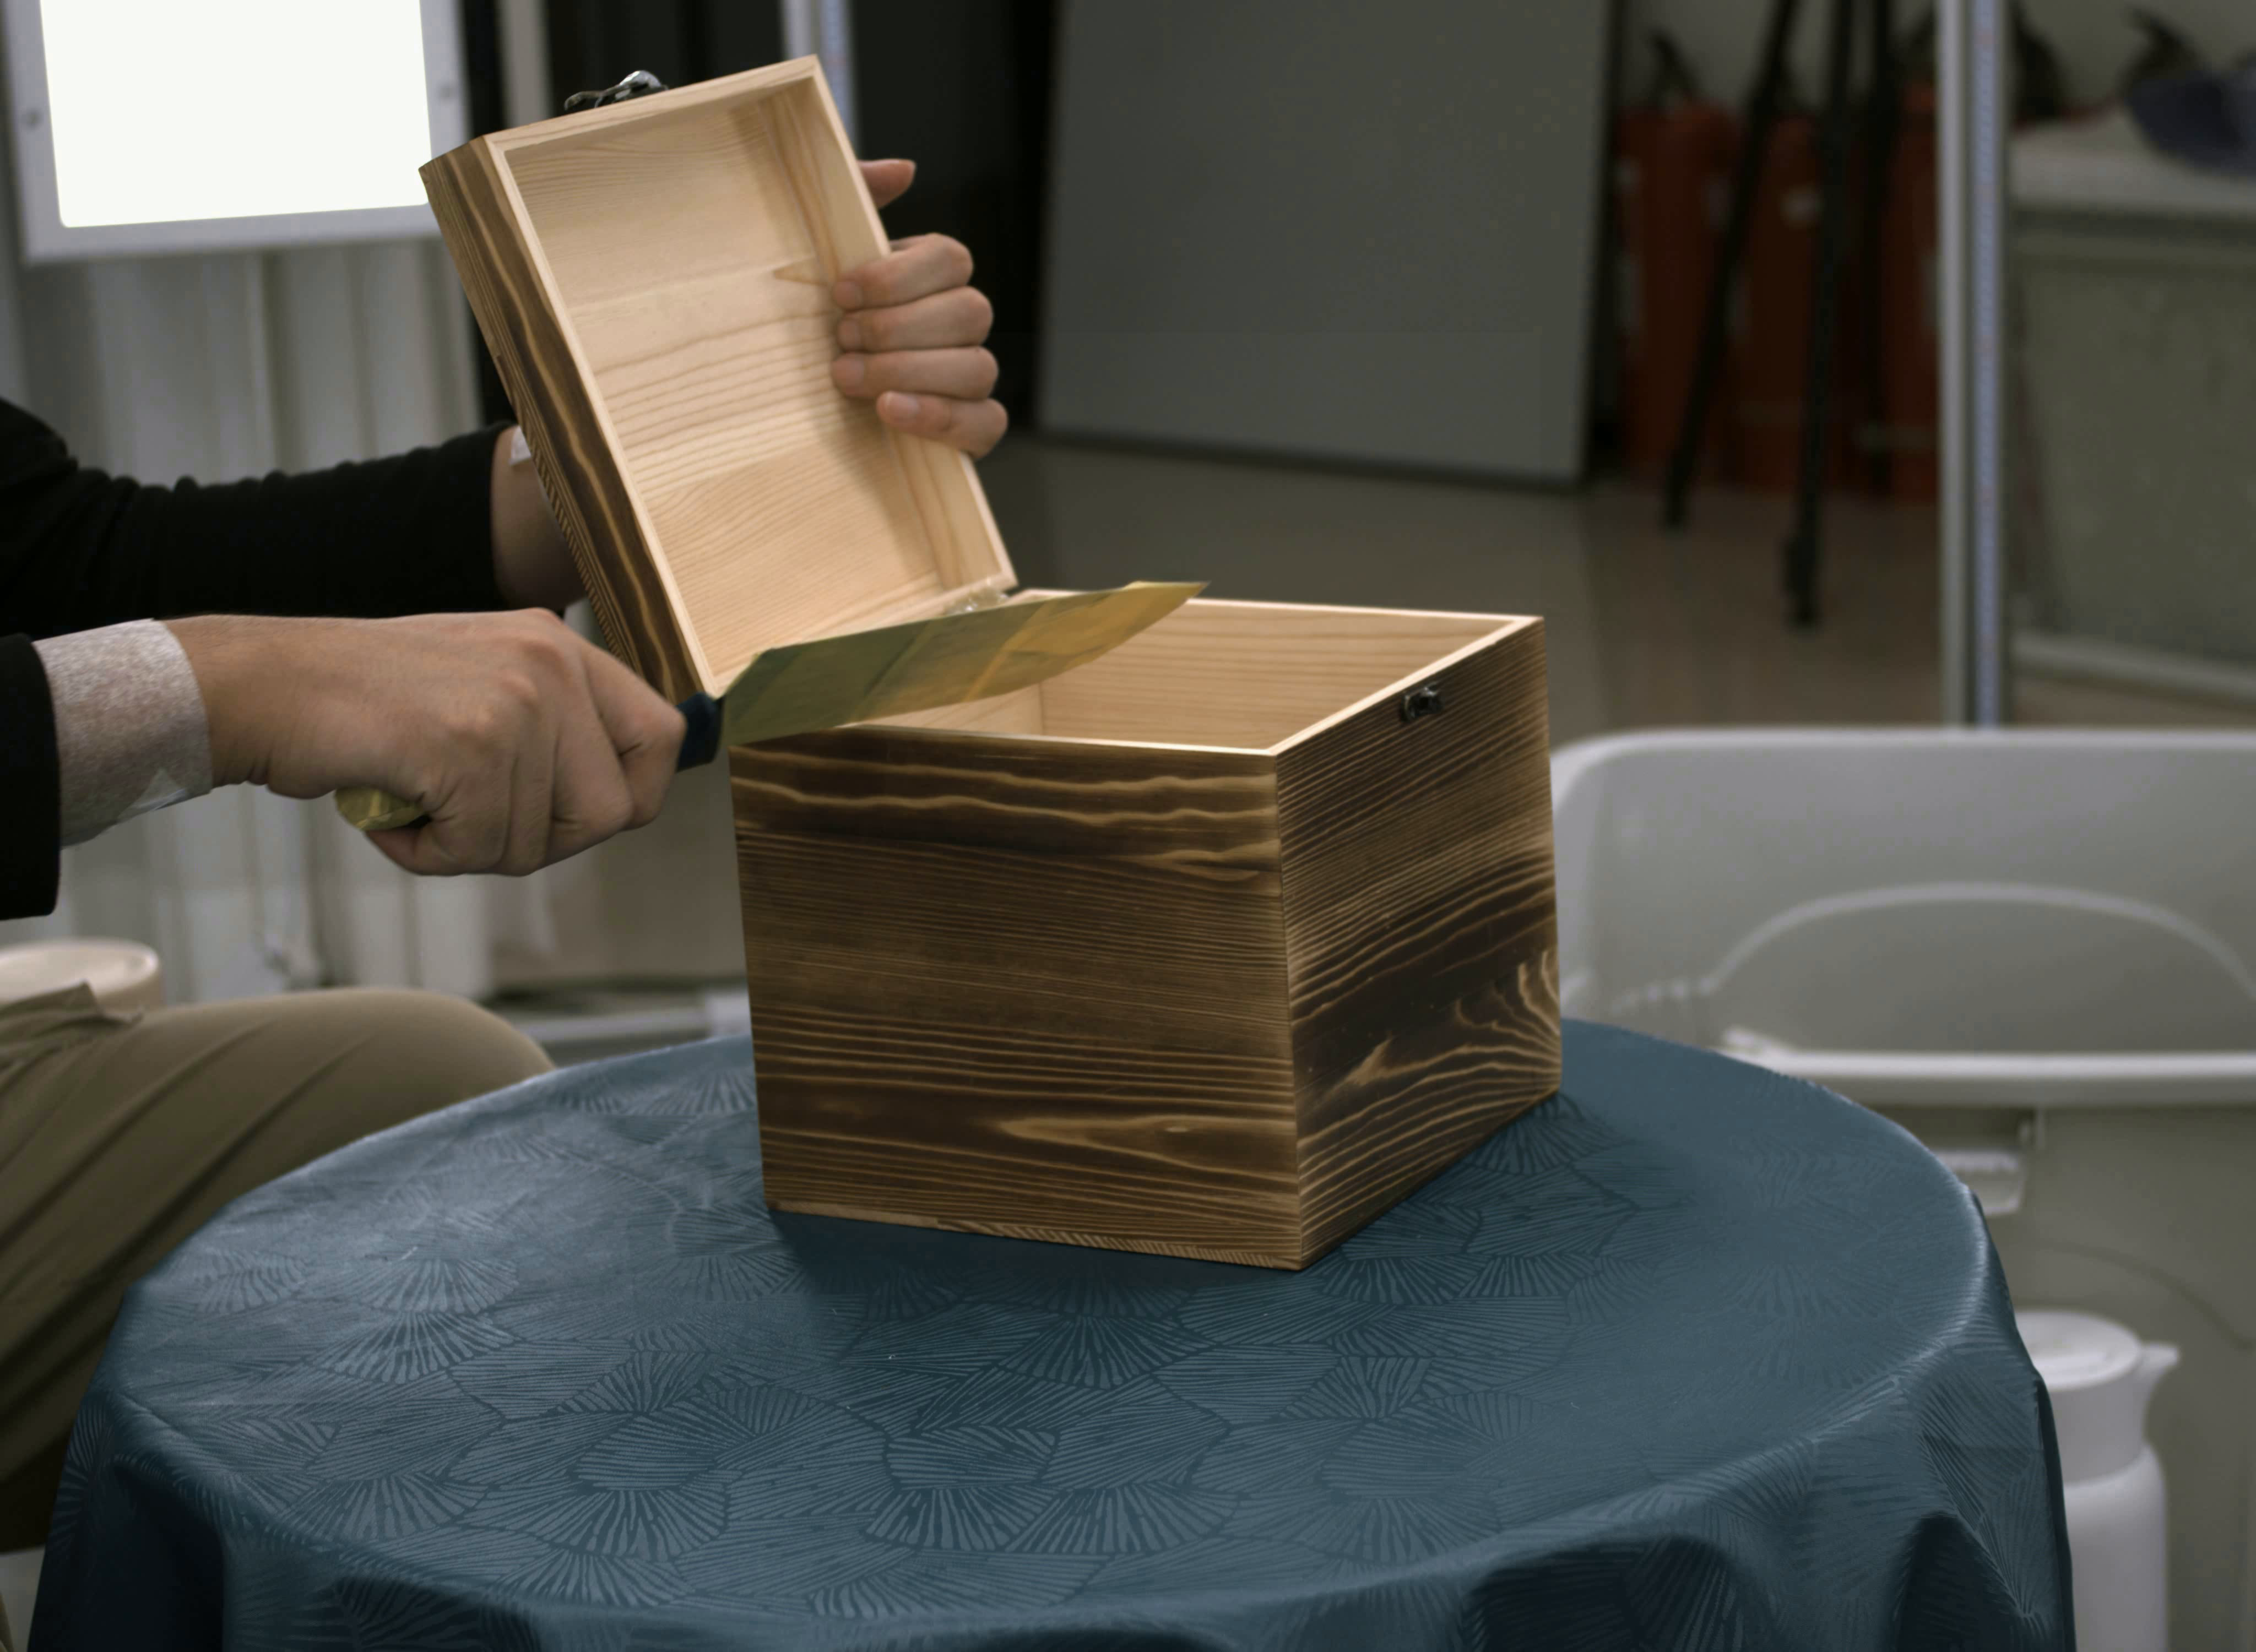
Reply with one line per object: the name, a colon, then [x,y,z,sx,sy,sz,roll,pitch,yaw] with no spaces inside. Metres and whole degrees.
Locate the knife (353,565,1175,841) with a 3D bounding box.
knife: [-0.105,-0.042,1.670,0.283,0.027,0.082,-16,-22,-29]

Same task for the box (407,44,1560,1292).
box: [-0.043,-0.066,1.792,0.323,0.379,0.206,2,15,29]
